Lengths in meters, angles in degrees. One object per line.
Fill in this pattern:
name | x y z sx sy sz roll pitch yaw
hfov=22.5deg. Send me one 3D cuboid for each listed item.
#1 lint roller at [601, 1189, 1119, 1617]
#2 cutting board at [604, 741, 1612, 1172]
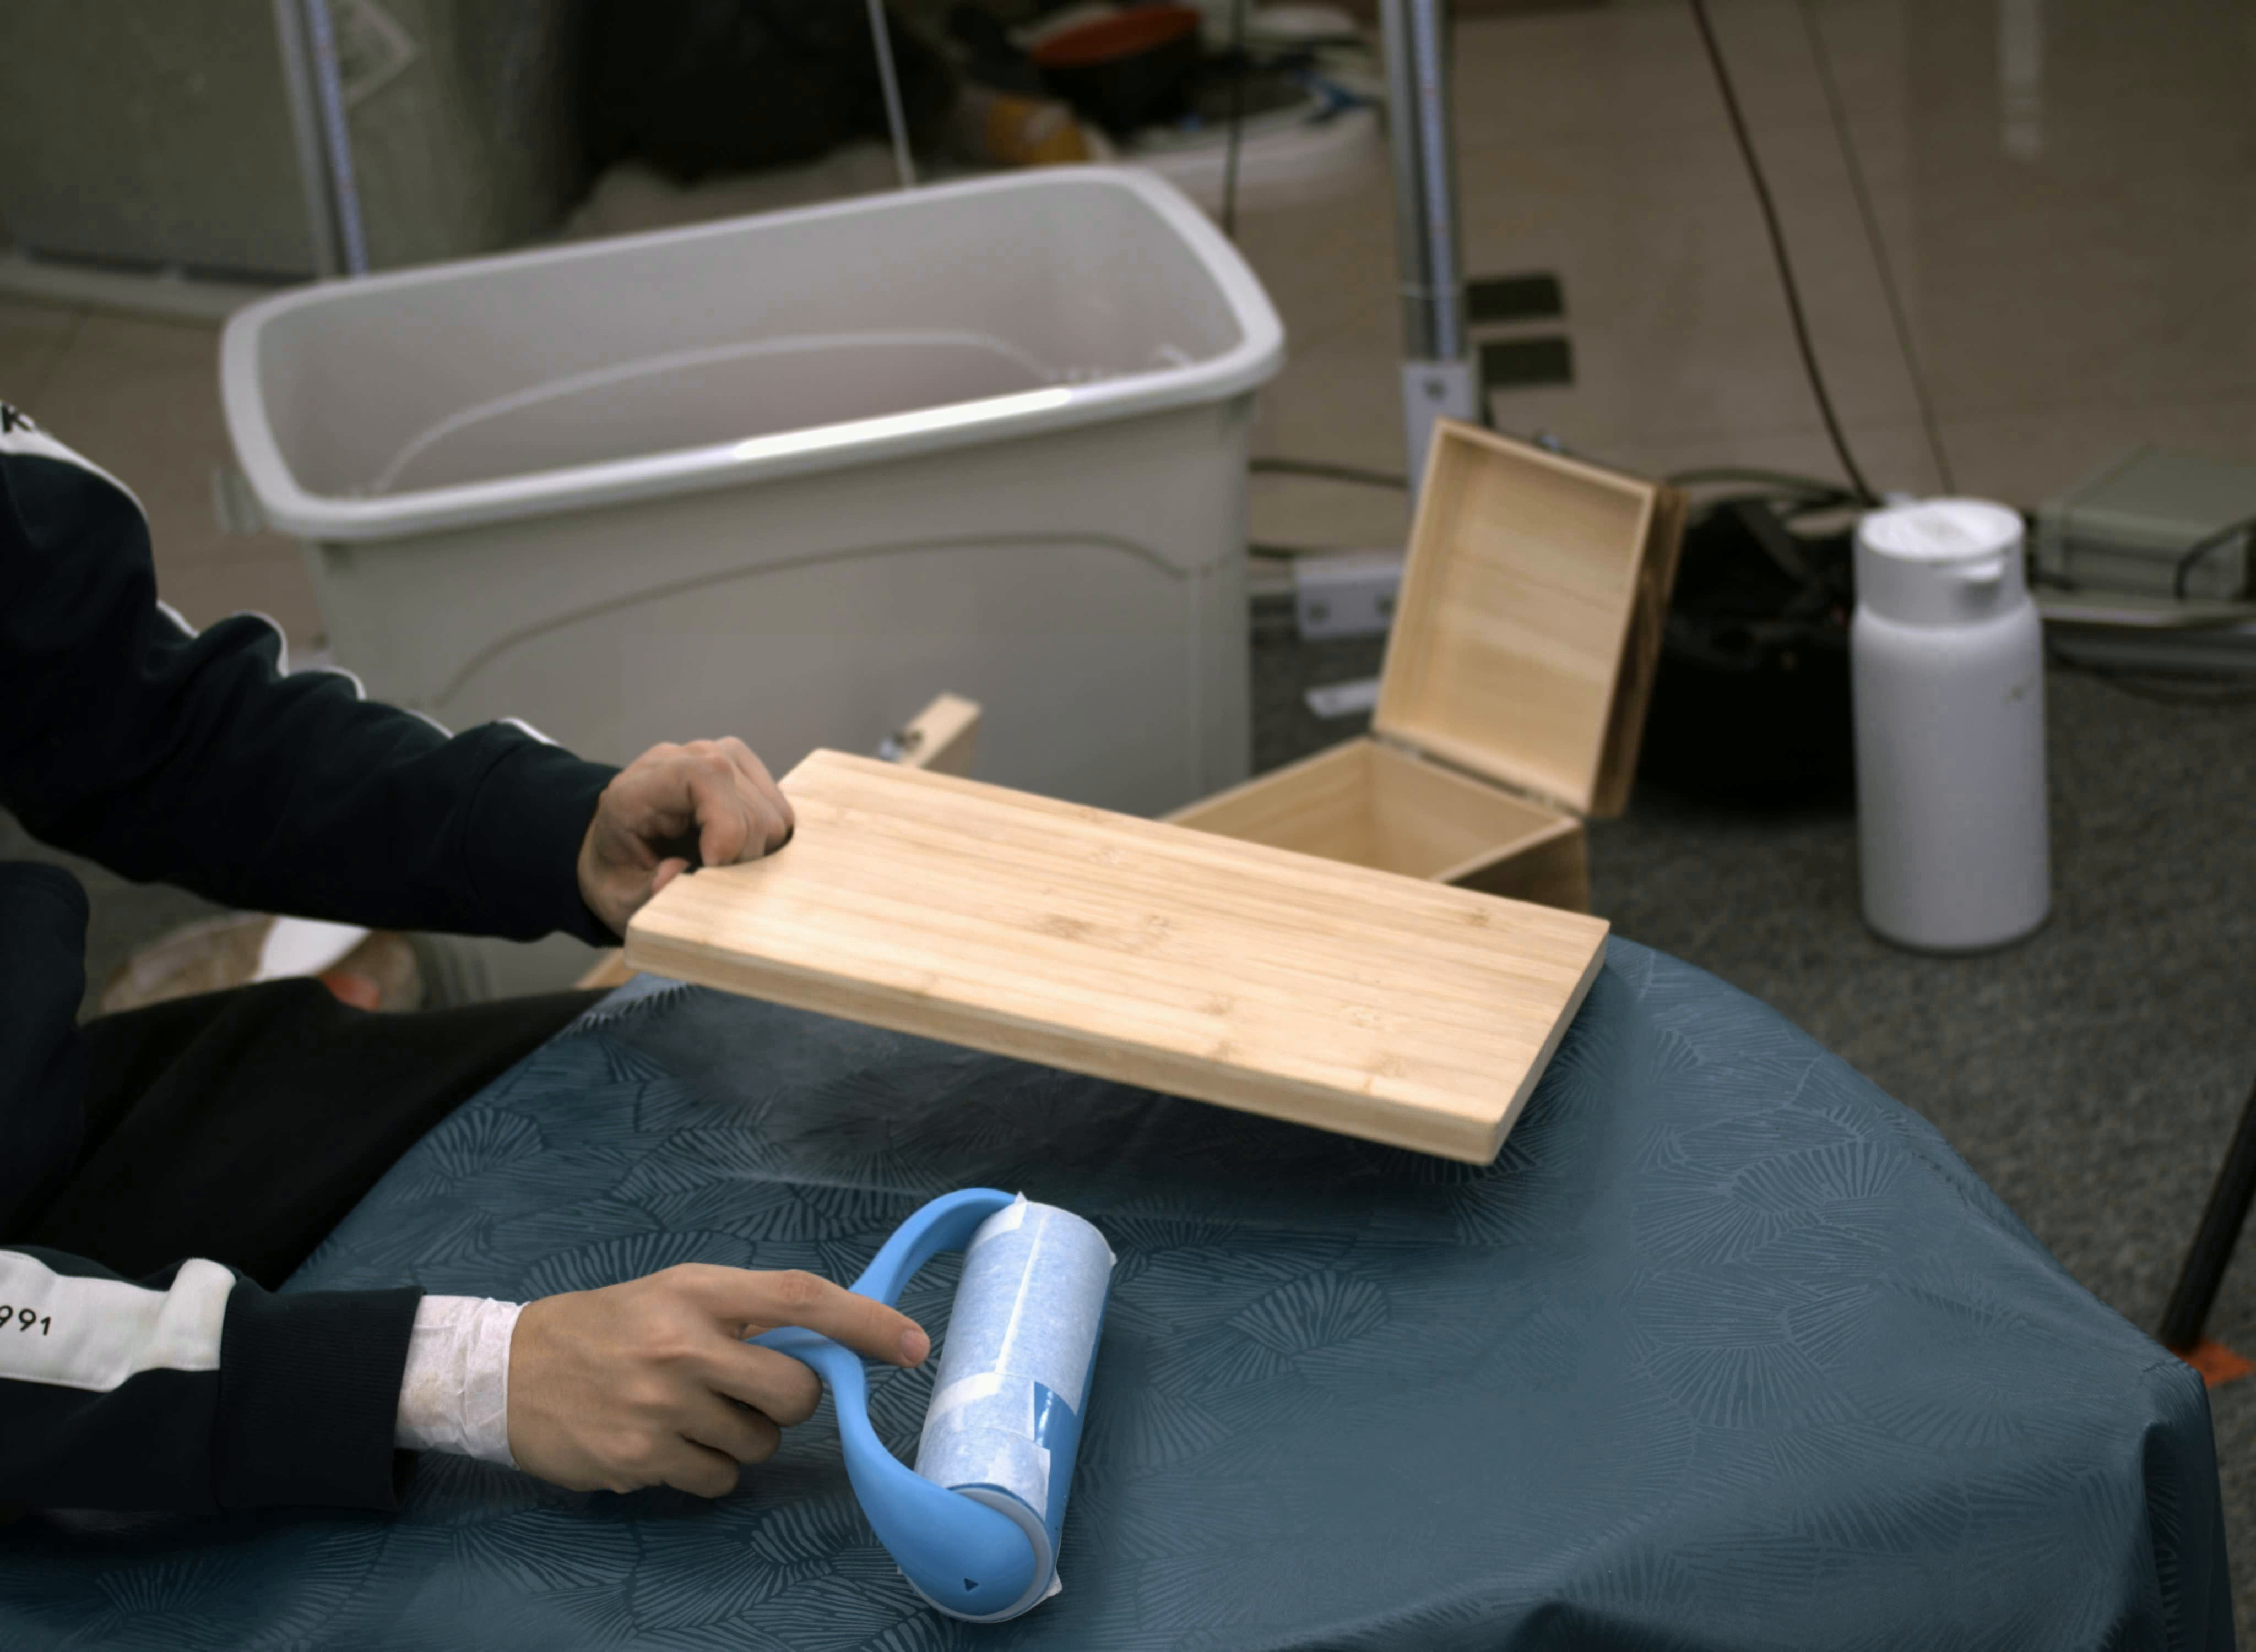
lint roller | -0.098 0.201 1.966 0.180 0.069 0.225 -3 26 5
cutting board | -0.002 0.047 2.204 0.347 0.024 0.248 12 21 10
